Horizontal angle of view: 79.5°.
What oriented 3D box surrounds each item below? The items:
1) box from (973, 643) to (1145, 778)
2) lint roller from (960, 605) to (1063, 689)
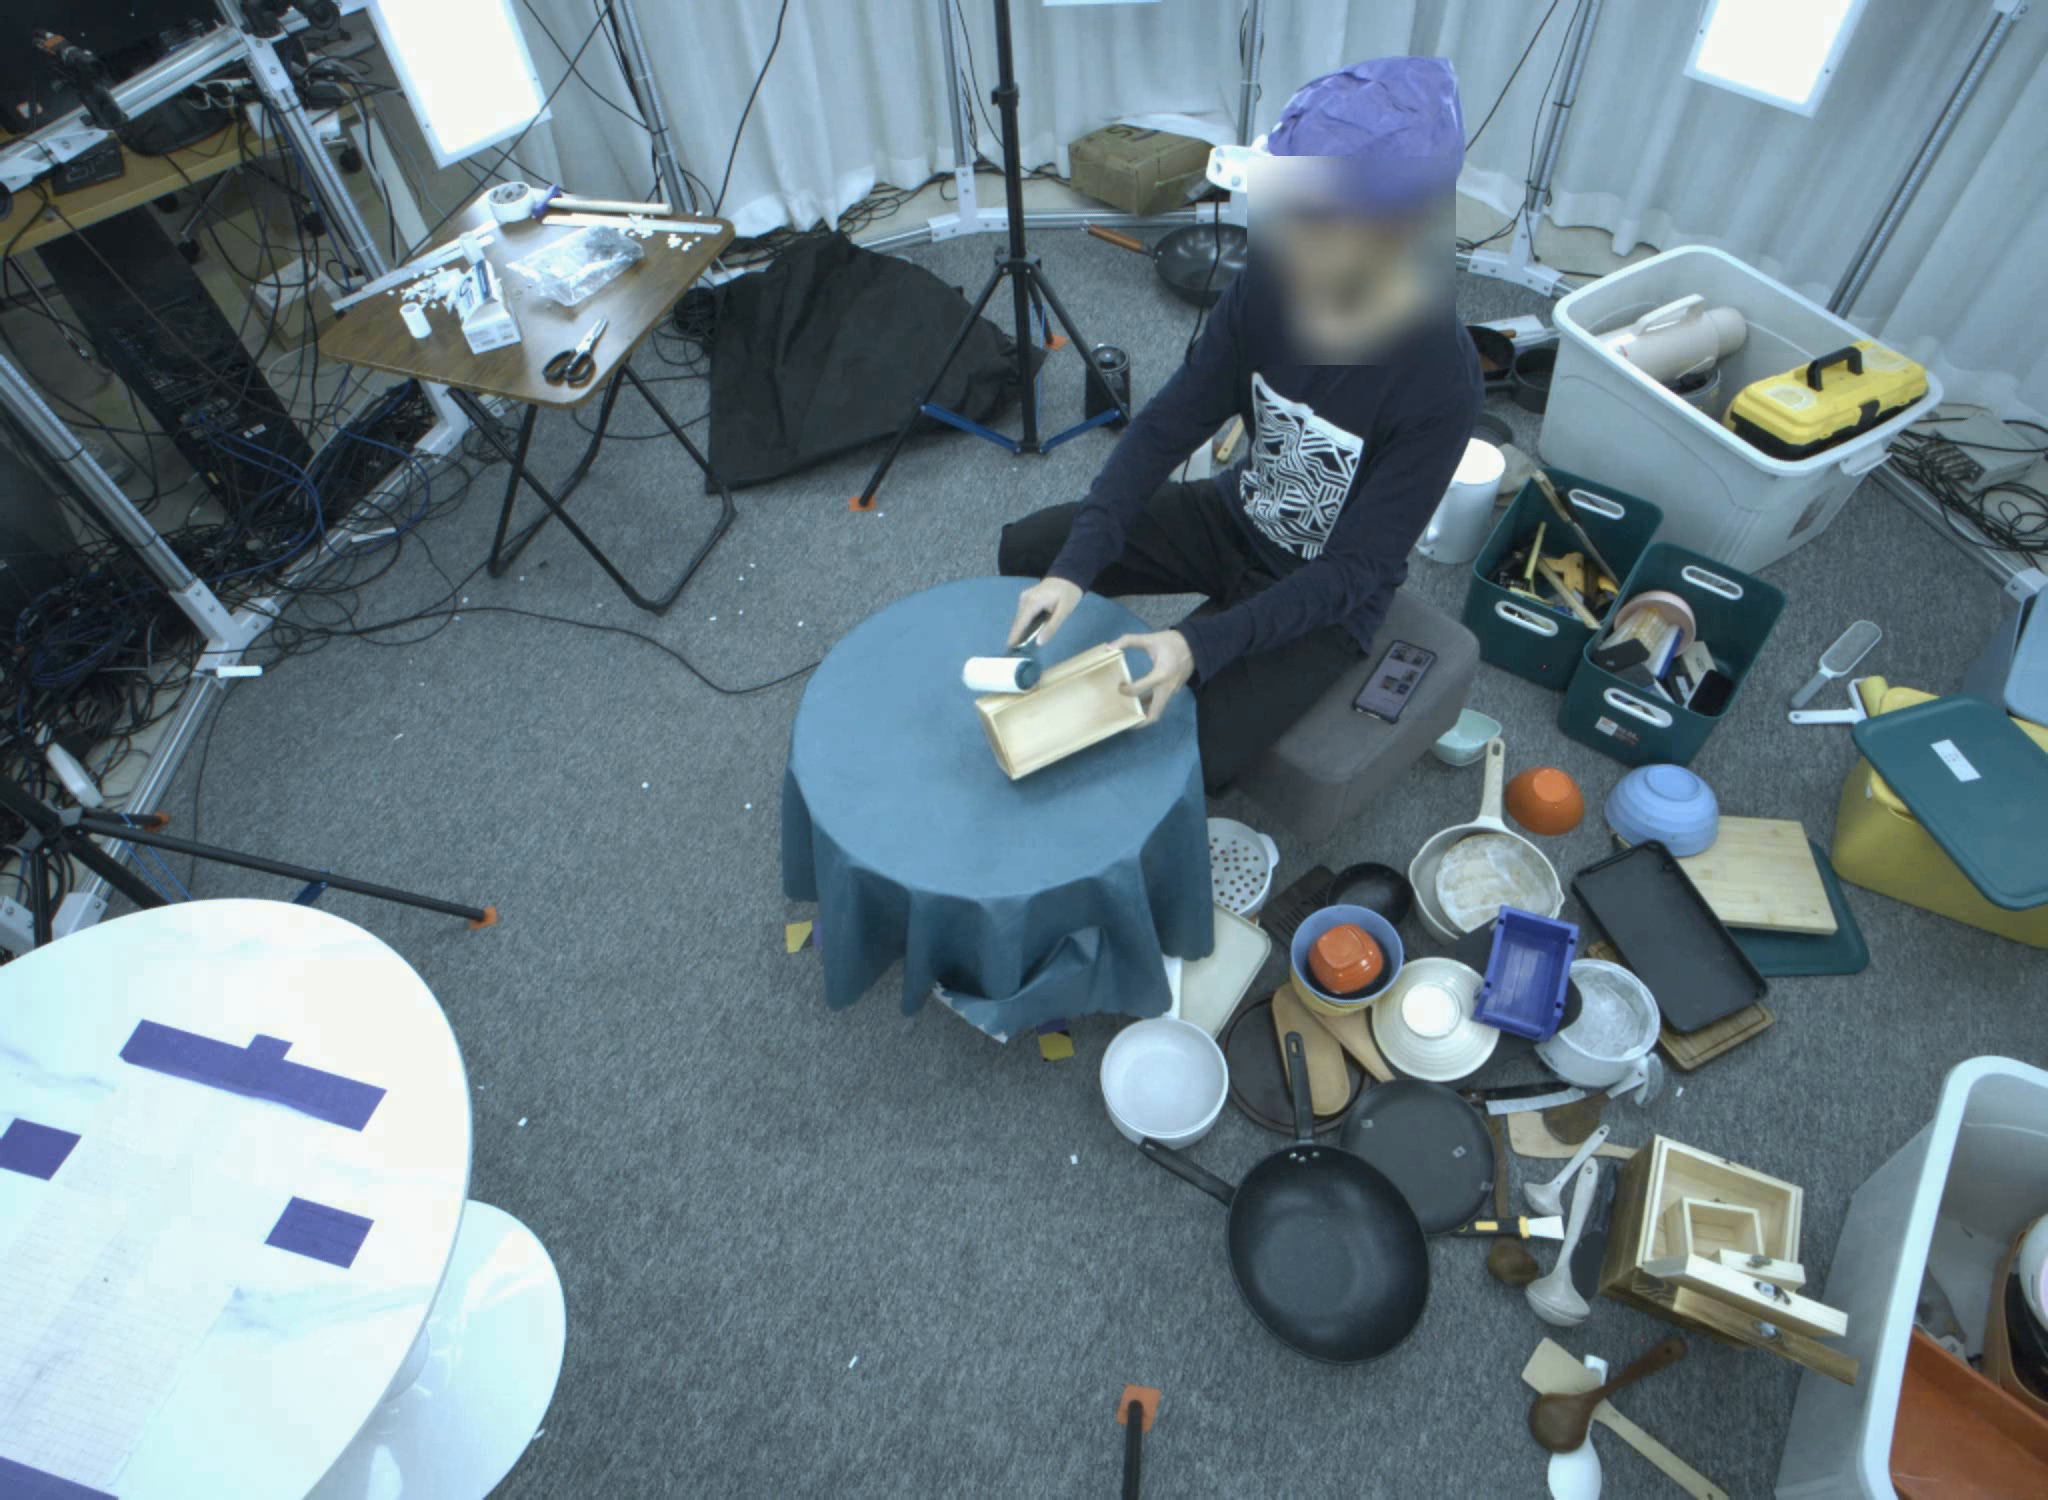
[{"bbox_3d":[0.050,-0.058,1.747,0.213,0.109,0.079,-25,20,-11],"label":"box"},{"bbox_3d":[-0.002,-0.158,1.737,0.131,0.049,0.180,5,51,44],"label":"lint roller"}]
